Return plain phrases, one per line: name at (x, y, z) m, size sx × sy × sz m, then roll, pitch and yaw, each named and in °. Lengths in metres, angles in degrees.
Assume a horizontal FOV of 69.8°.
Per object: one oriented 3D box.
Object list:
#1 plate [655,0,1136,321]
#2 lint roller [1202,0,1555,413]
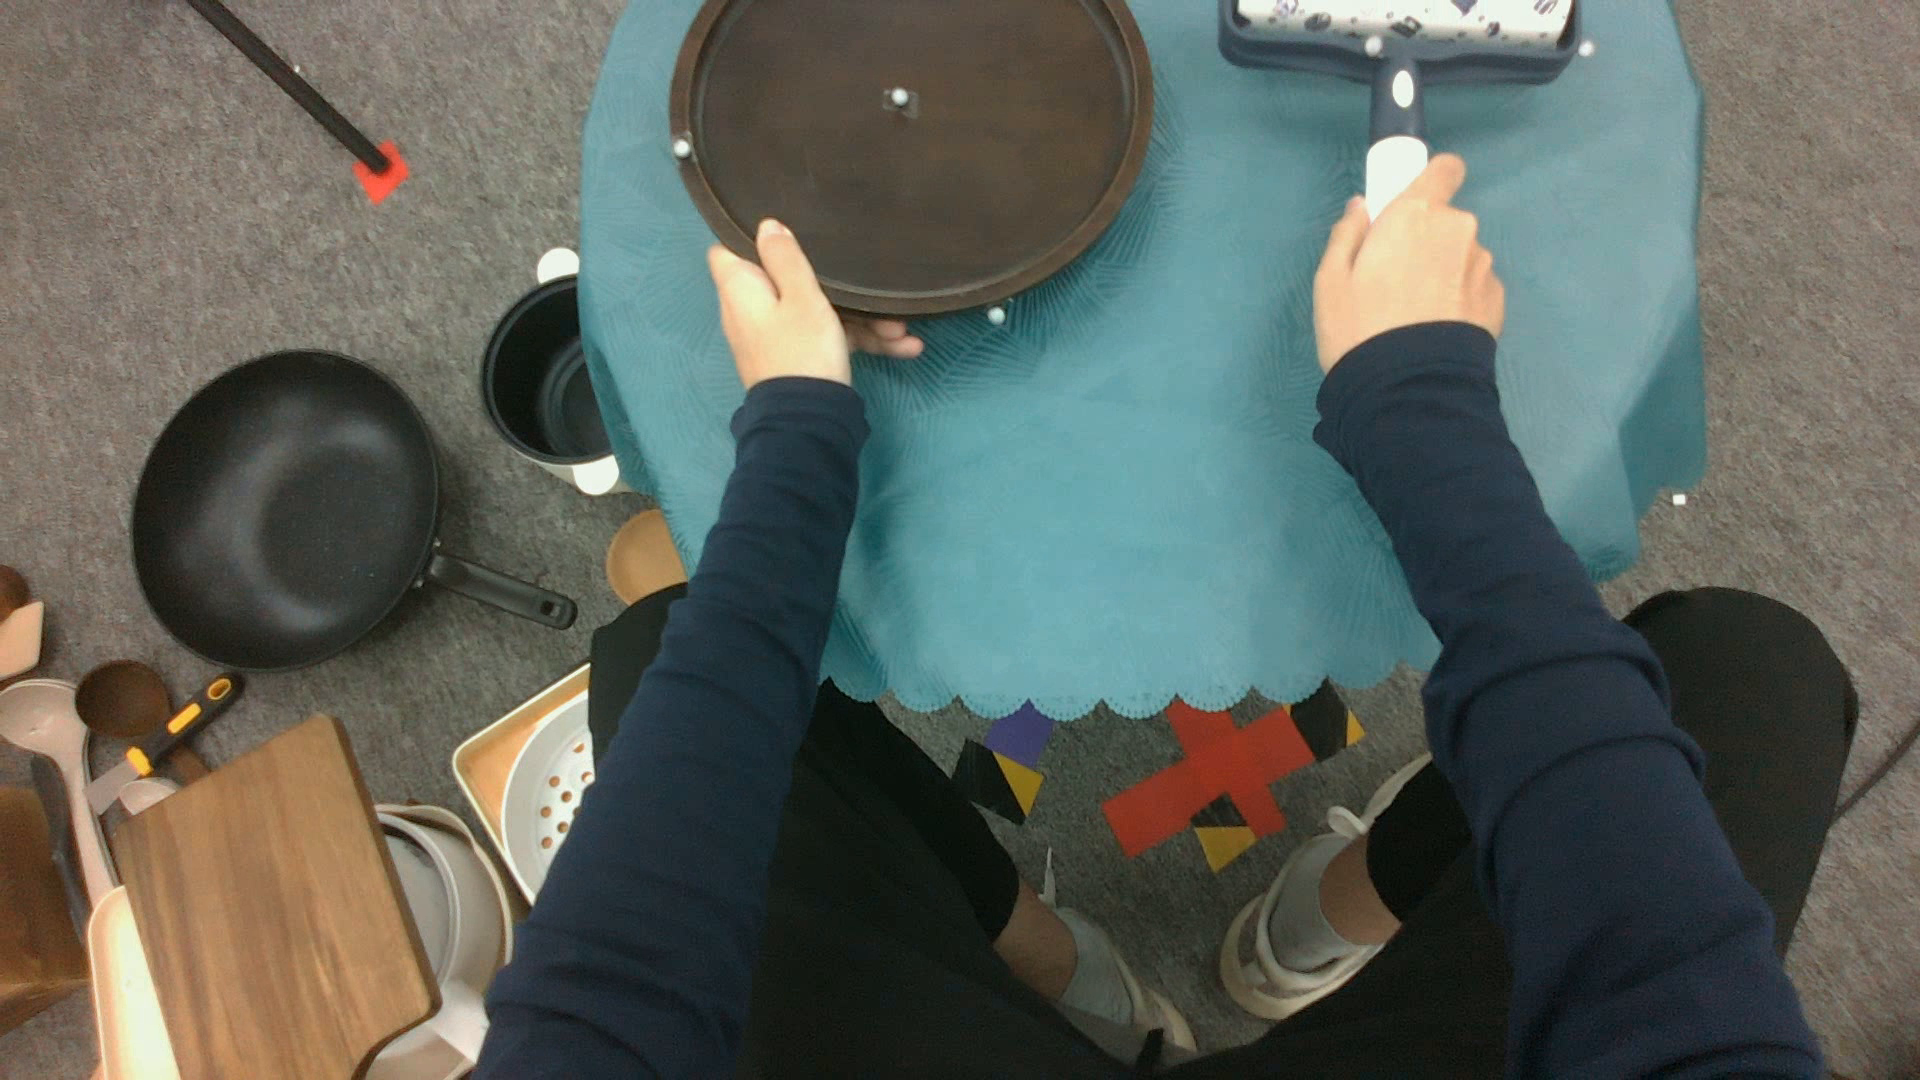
plate at (-0.033, -0.229, 0.730) m, size 0.255 × 0.029 × 0.255 m, roll 0°, pitch 72°, yaw 0°
lint roller at (0.206, -0.182, 0.675) m, size 0.176 × 0.050 × 0.248 m, roll 4°, pitch 72°, yaw 2°
